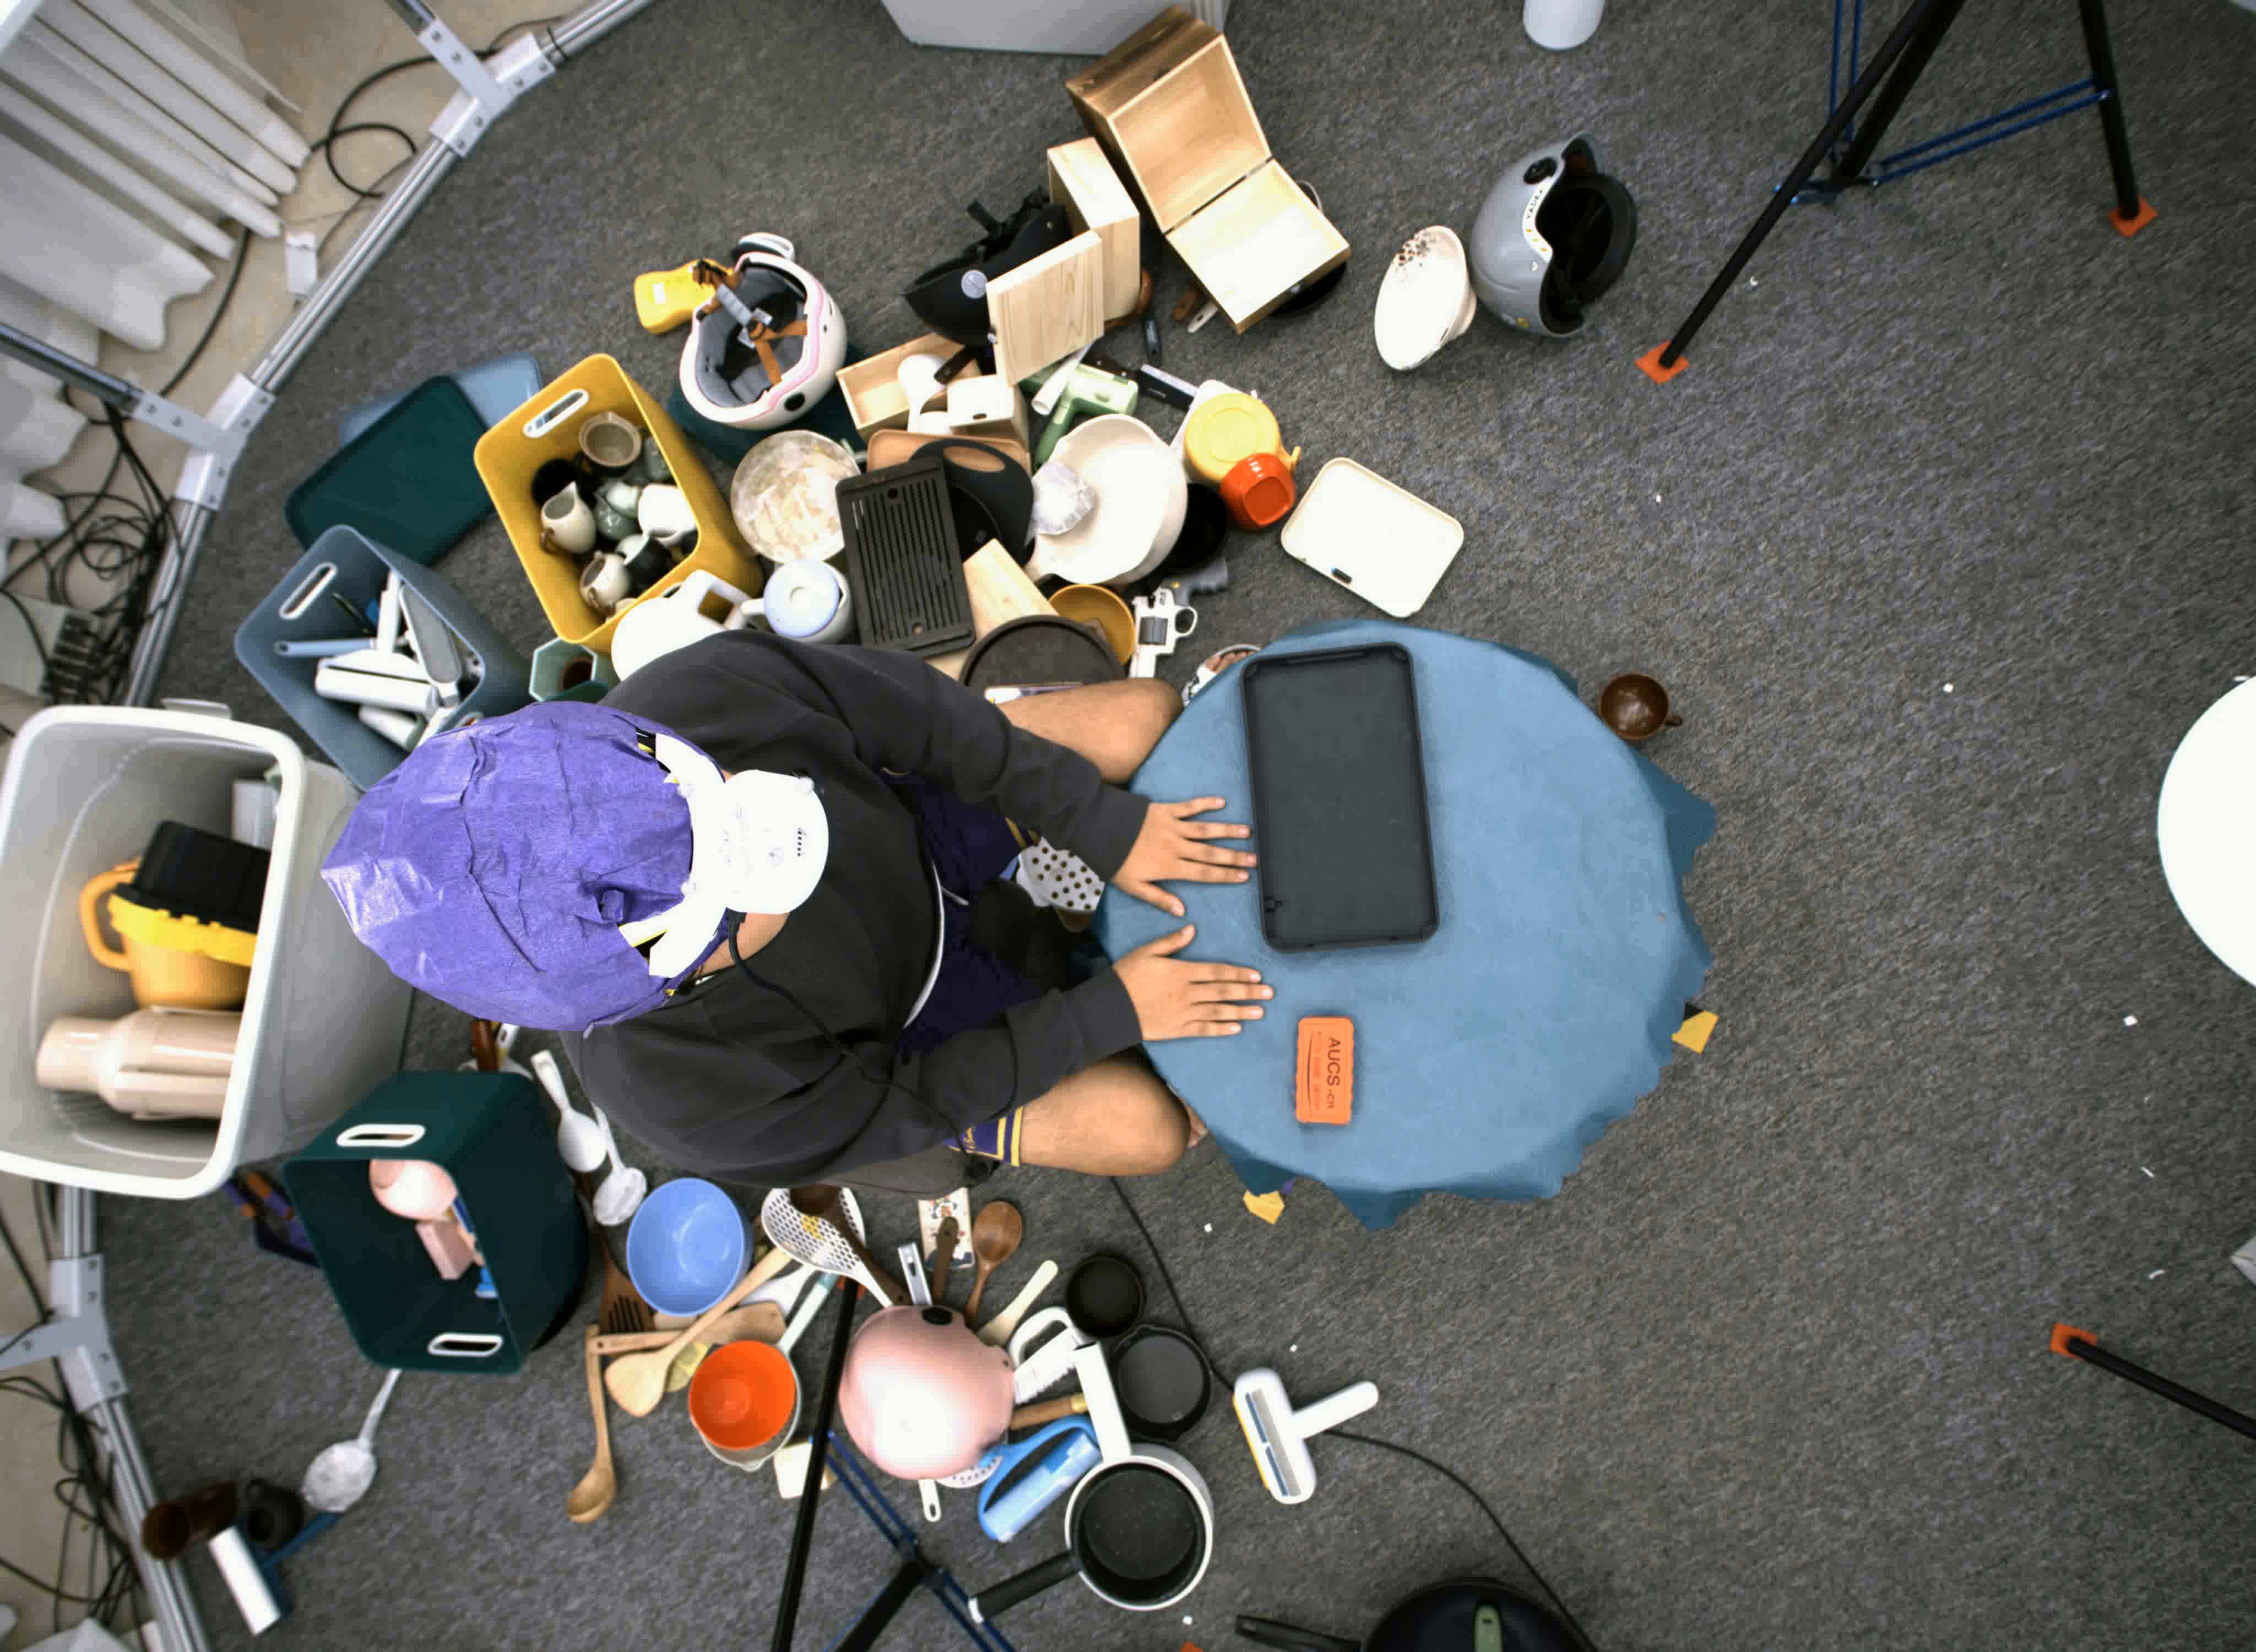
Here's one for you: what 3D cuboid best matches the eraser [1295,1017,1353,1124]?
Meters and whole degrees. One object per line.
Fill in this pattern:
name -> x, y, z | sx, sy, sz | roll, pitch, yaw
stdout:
eraser -> 0.205, 0.253, 1.446 | 0.059, 0.023, 0.108 | 1, 88, 16

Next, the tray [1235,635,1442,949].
tray -> 0.221, -0.036, 1.457 | 0.185, 0.037, 0.316 | -7, 86, 10
